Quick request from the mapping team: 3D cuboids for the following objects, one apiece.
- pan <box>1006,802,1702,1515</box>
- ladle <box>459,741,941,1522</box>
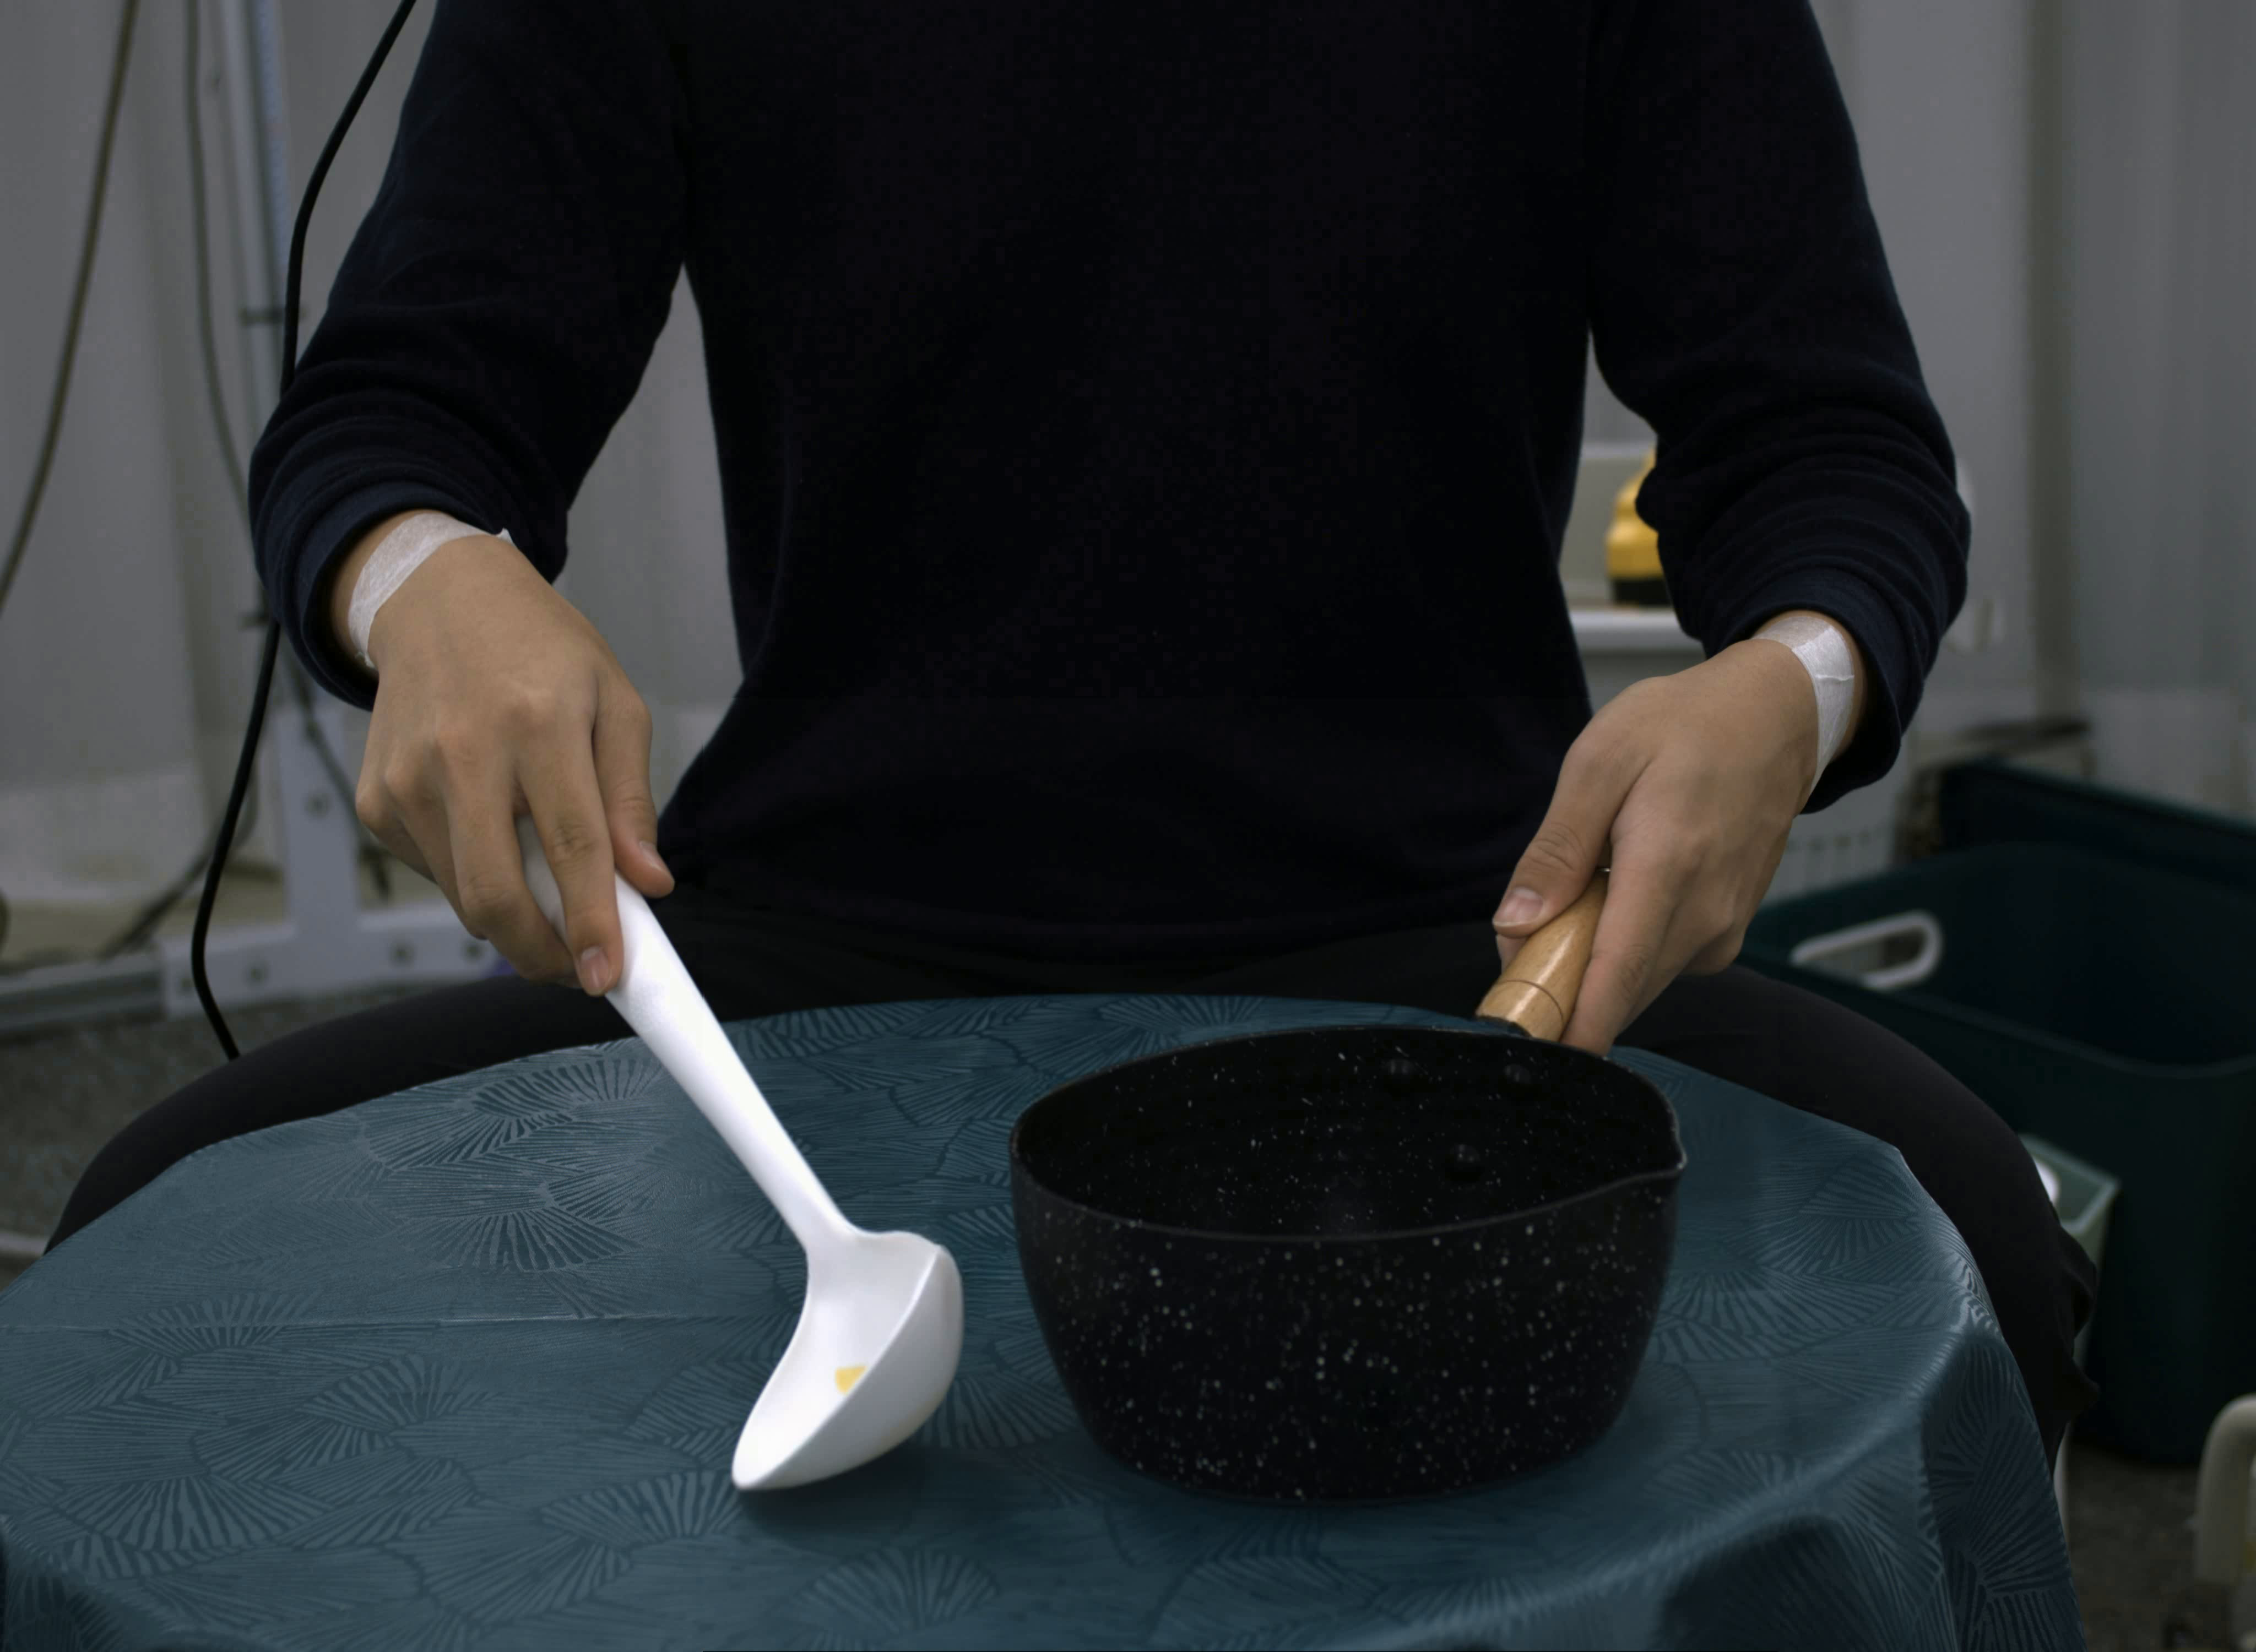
[{"bbox_3d":[0.092,0.091,1.580,0.207,0.108,0.344,3,17,24],"label":"pan"},{"bbox_3d":[-0.133,0.077,1.558,0.069,0.089,0.297,13,31,-45],"label":"ladle"}]
